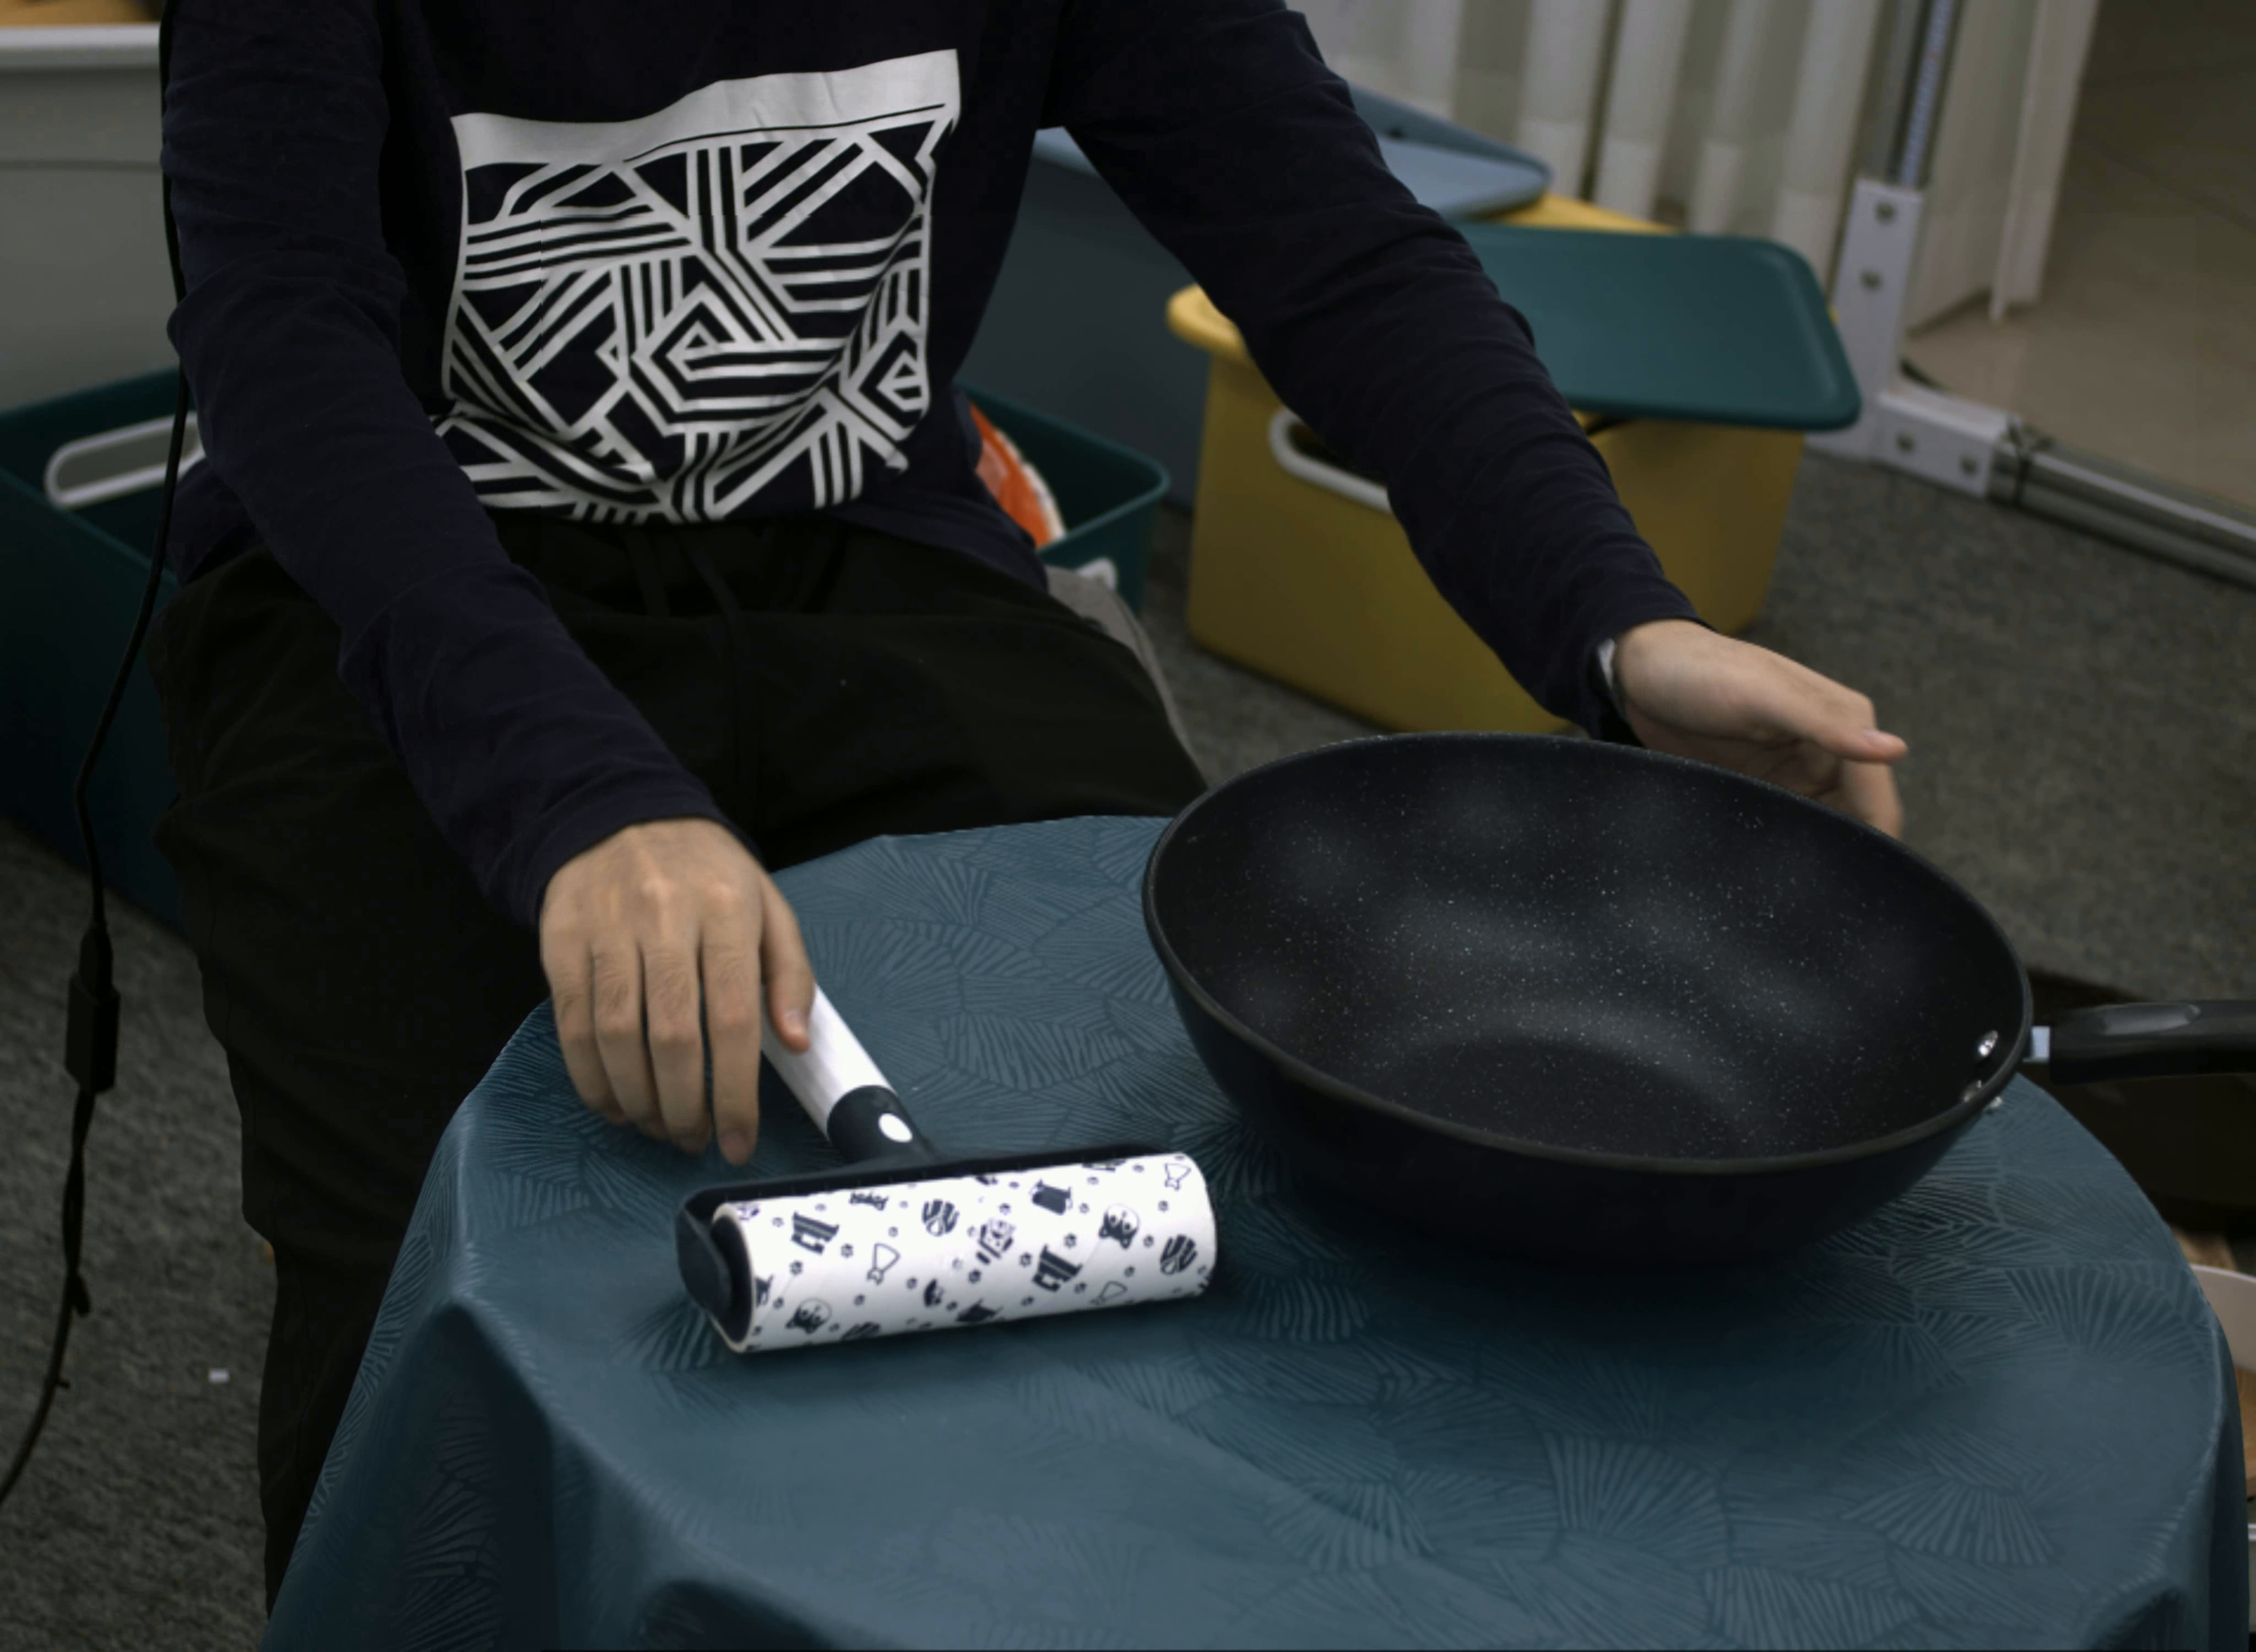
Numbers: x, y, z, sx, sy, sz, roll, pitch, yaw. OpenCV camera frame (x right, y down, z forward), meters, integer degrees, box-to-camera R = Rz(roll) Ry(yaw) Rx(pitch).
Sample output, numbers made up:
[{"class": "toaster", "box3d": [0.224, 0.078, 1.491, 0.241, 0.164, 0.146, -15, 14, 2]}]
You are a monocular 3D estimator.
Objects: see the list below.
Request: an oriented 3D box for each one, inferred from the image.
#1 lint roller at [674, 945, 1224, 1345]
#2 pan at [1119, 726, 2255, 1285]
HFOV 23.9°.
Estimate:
[{"class": "lint roller", "box3d": [-0.094, 0.093, 1.798, 0.175, 0.050, 0.249, -6, 27, -22]}, {"class": "pan", "box3d": [0.230, 0.077, 1.830, 0.476, 0.111, 0.311, 9, 28, 7]}]
